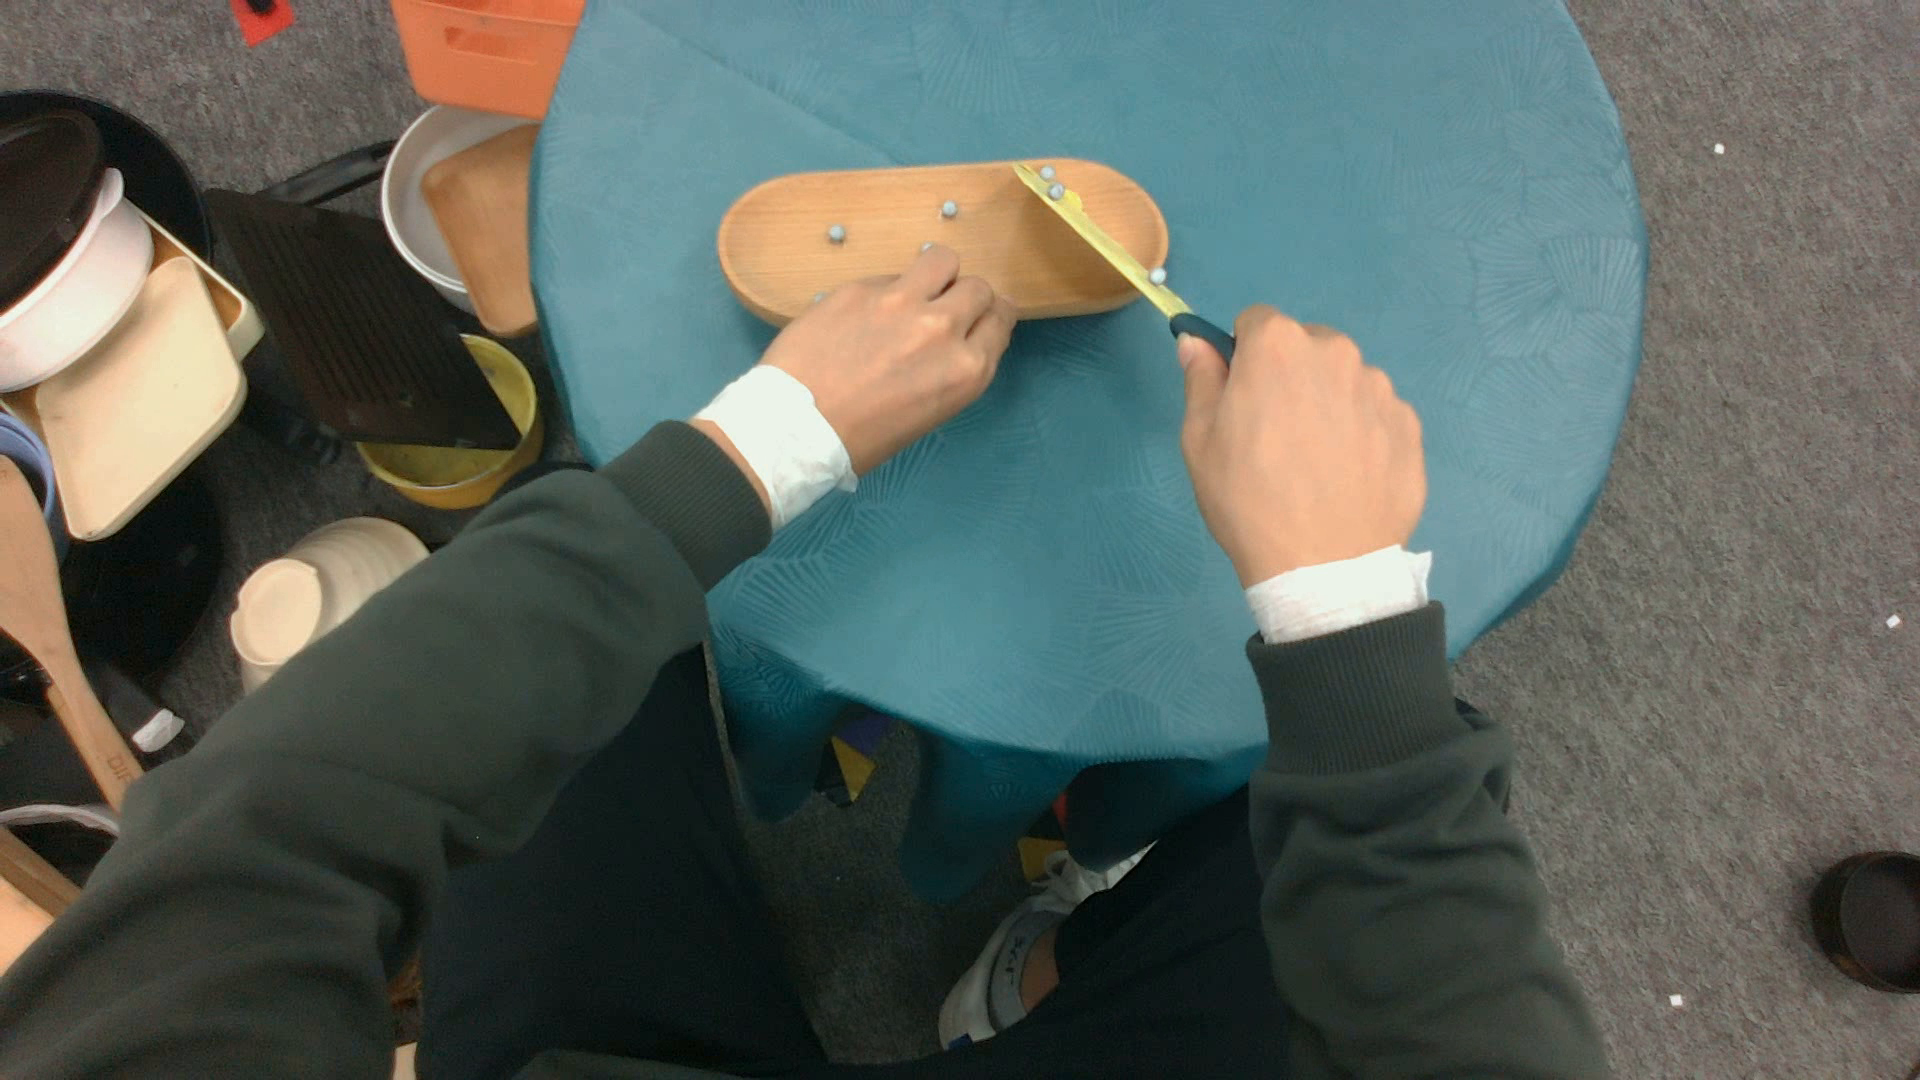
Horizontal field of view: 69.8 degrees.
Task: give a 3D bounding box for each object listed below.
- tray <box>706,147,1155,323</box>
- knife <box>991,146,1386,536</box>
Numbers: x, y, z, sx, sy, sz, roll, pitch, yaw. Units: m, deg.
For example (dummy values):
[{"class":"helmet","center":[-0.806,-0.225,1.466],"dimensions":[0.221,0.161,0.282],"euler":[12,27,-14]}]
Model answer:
[{"class":"tray","center":[-0.013,-0.157,0.703],"dimensions":[0.231,0.020,0.102],"euler":[-6,60,-14]},{"class":"knife","center":[0.098,-0.104,0.638],"dimensions":[0.027,0.081,0.290],"euler":[-51,56,21]}]
